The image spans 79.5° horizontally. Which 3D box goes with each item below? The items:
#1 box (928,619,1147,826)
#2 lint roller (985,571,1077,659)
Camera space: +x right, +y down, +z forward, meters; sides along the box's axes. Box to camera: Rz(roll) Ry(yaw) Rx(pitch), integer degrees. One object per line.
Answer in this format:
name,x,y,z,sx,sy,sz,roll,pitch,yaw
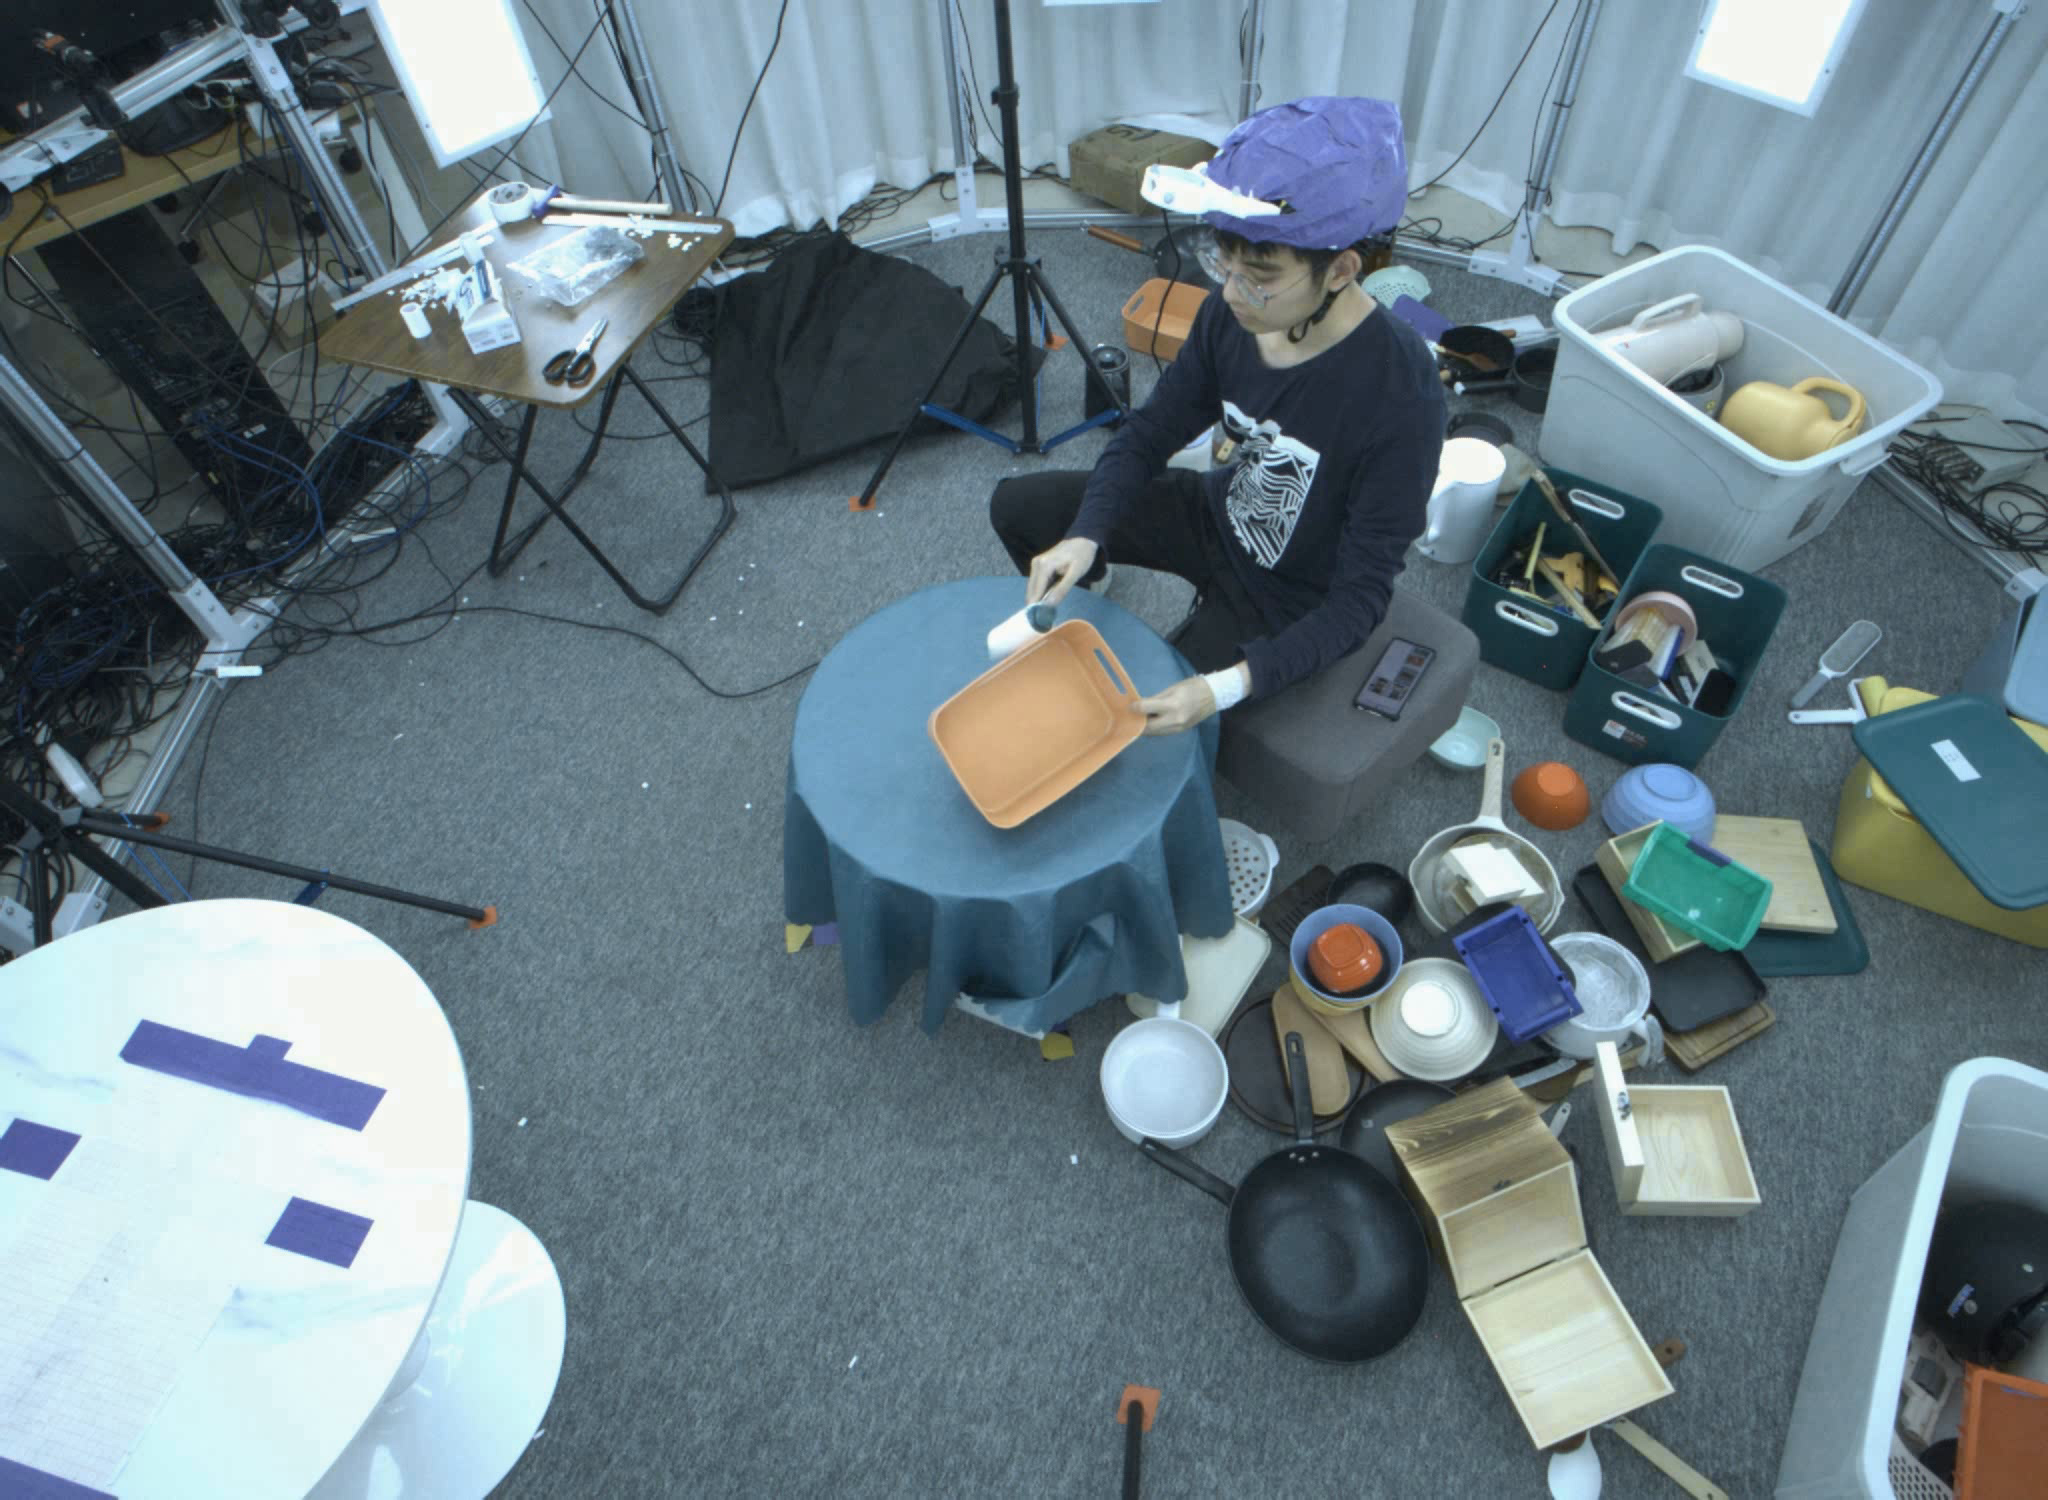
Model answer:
box,0.011,-0.040,1.694,0.275,0.101,0.201,-36,102,-14
lint roller,0.020,-0.213,1.764,0.049,0.132,0.180,42,54,-17
